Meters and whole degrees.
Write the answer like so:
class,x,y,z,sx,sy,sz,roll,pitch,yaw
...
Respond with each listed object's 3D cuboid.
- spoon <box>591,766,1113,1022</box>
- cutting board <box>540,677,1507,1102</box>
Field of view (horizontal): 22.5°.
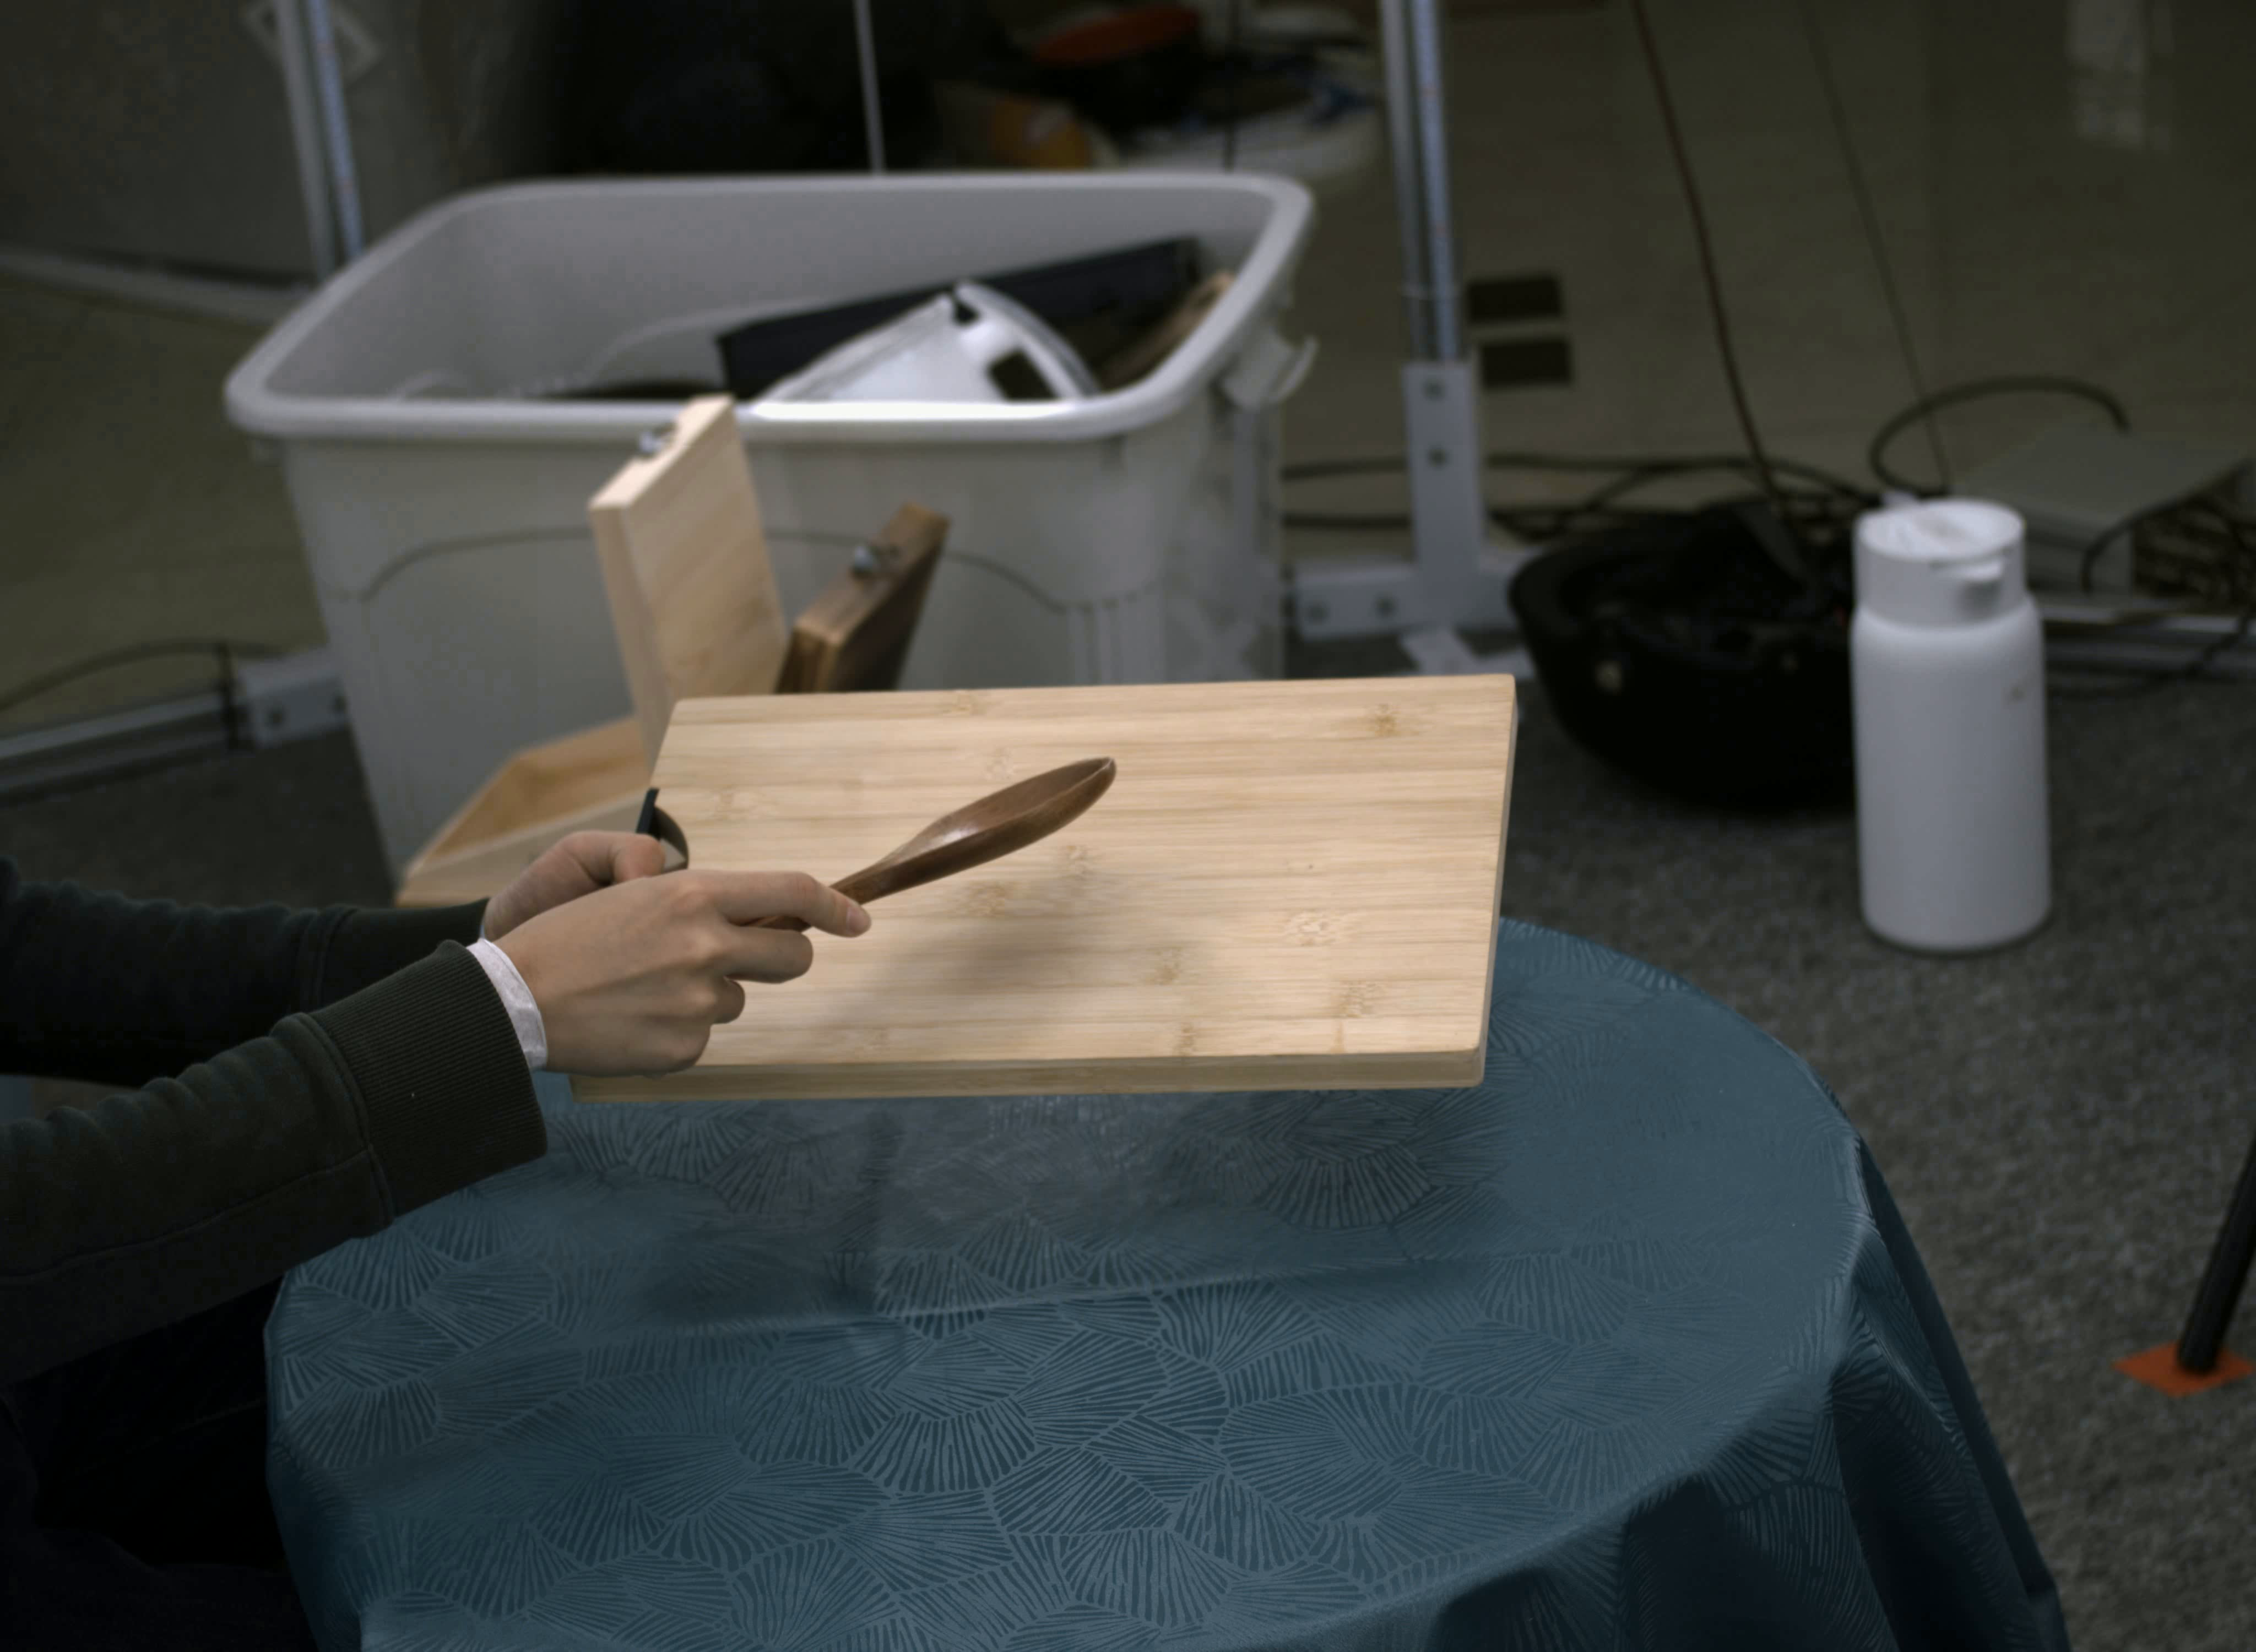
class,x,y,z,sx,sy,sz,roll,pitch,yaw
spoon,-0.099,0.024,2.070,0.214,0.017,0.075,-24,12,-19
cutting board,-0.034,0.022,2.163,0.348,0.024,0.246,-2,36,8
